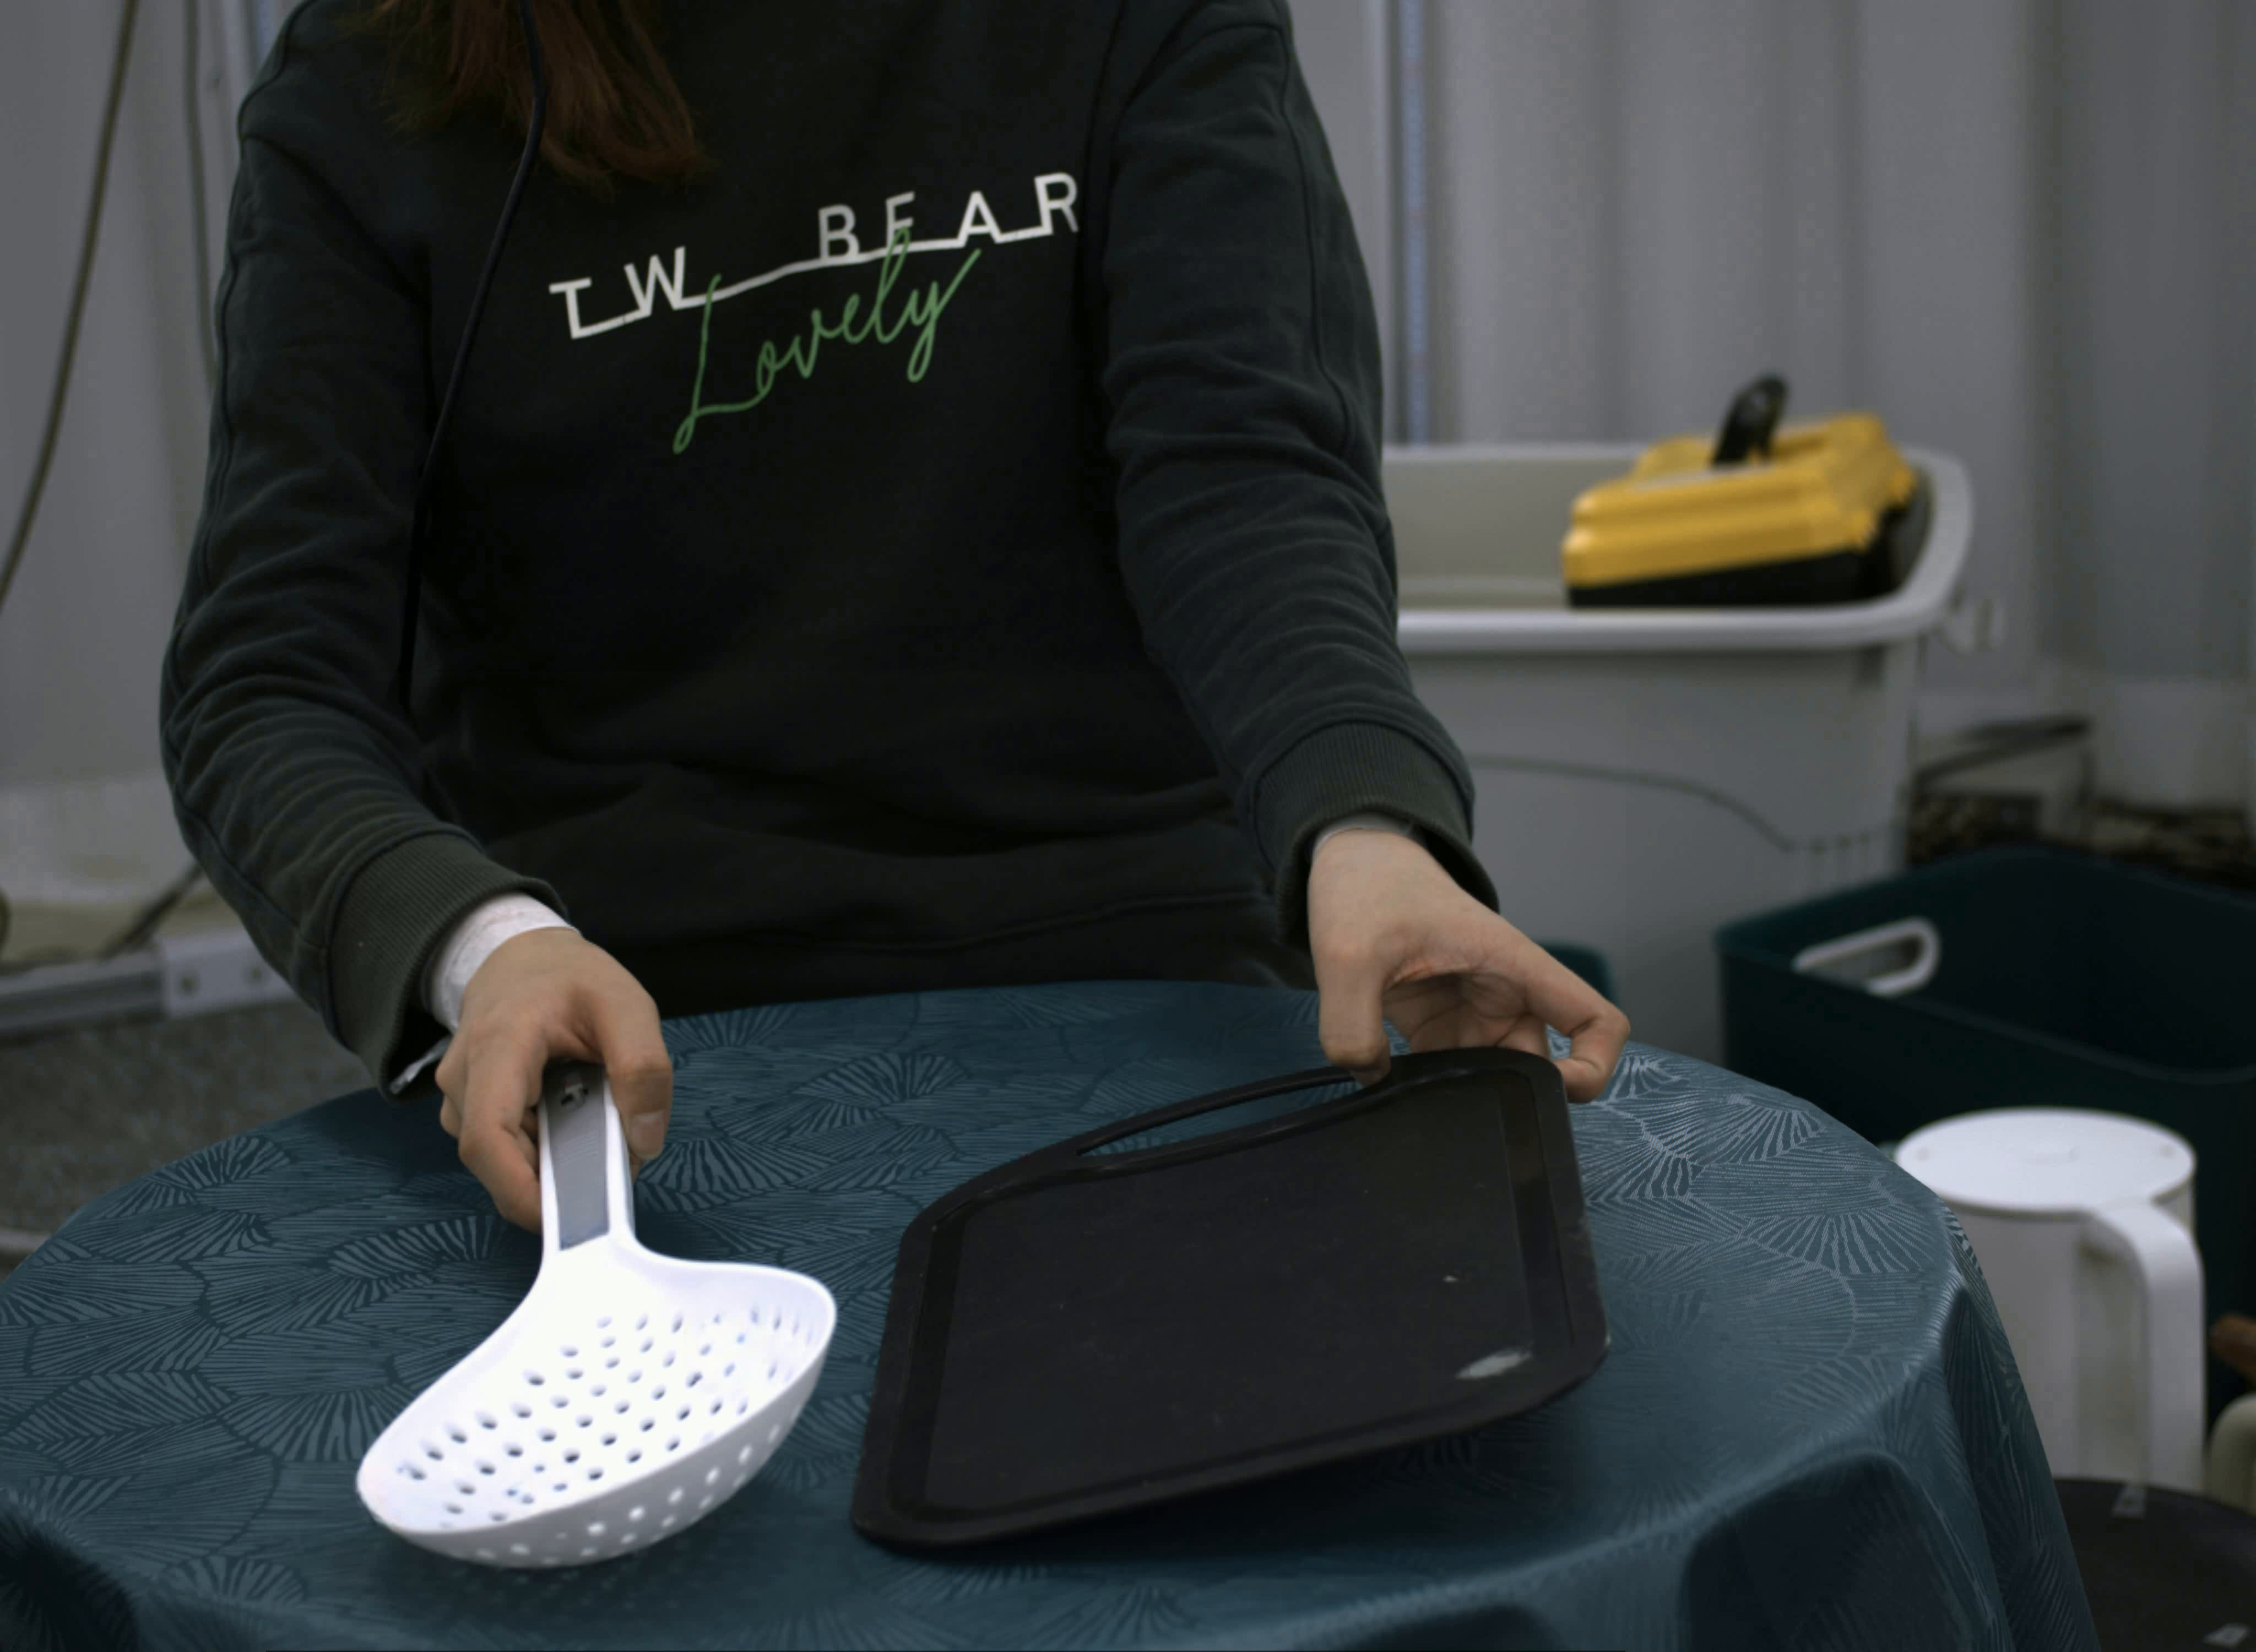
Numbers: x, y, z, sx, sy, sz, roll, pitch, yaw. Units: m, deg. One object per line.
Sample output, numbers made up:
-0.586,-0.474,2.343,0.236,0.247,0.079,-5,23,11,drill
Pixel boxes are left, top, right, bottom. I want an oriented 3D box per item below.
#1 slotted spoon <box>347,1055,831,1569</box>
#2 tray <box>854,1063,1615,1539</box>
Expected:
-0.152,0.128,1.550,0.135,0.045,0.353,-20,21,0,slotted spoon
0.030,0.128,1.570,0.210,0.010,0.327,-13,14,5,tray
